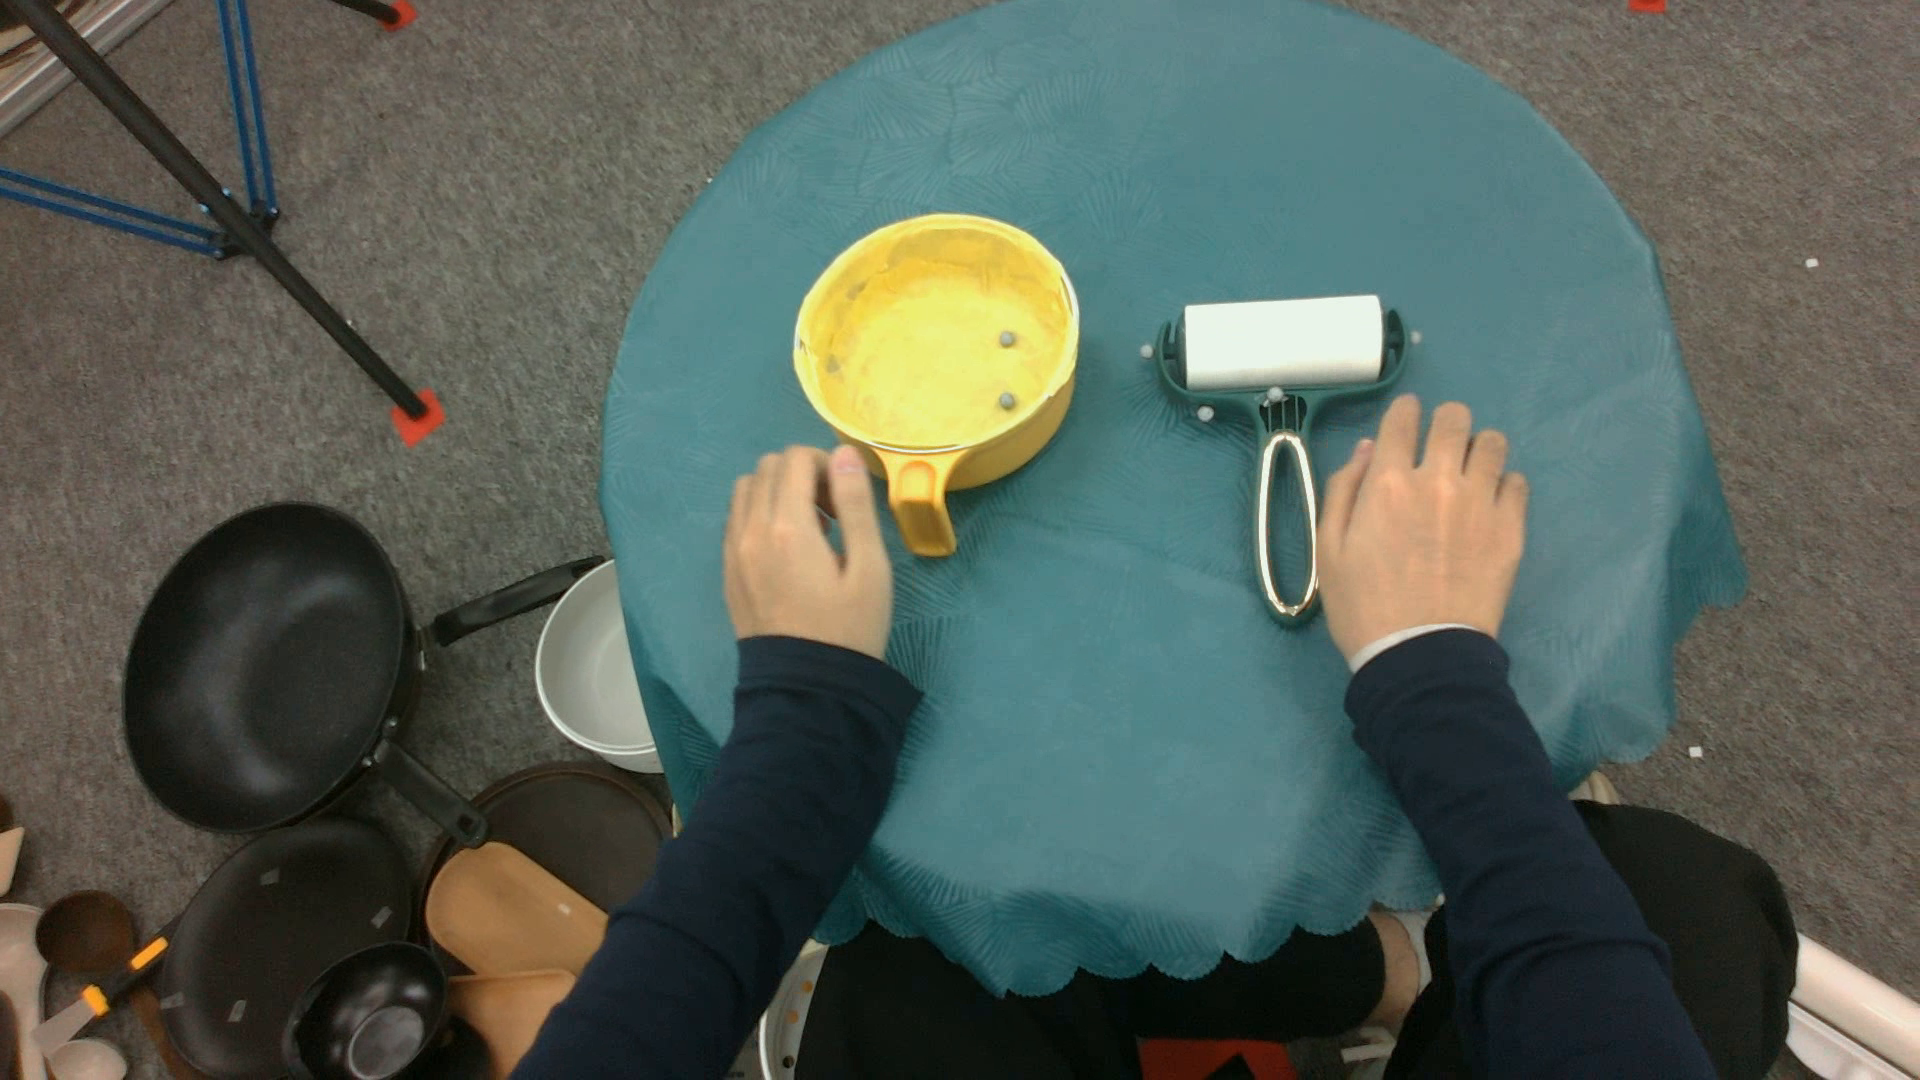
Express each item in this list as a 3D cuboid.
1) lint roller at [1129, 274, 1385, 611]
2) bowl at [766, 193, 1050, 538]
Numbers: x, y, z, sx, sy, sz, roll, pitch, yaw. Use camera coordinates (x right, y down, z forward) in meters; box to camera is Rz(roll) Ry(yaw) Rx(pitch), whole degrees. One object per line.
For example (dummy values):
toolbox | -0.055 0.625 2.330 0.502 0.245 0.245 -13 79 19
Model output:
lint roller | 0.158 -0.055 0.718 0.134 0.048 0.180 -1 68 7
bowl | -0.025 -0.095 0.748 0.153 0.074 0.180 -4 64 5
